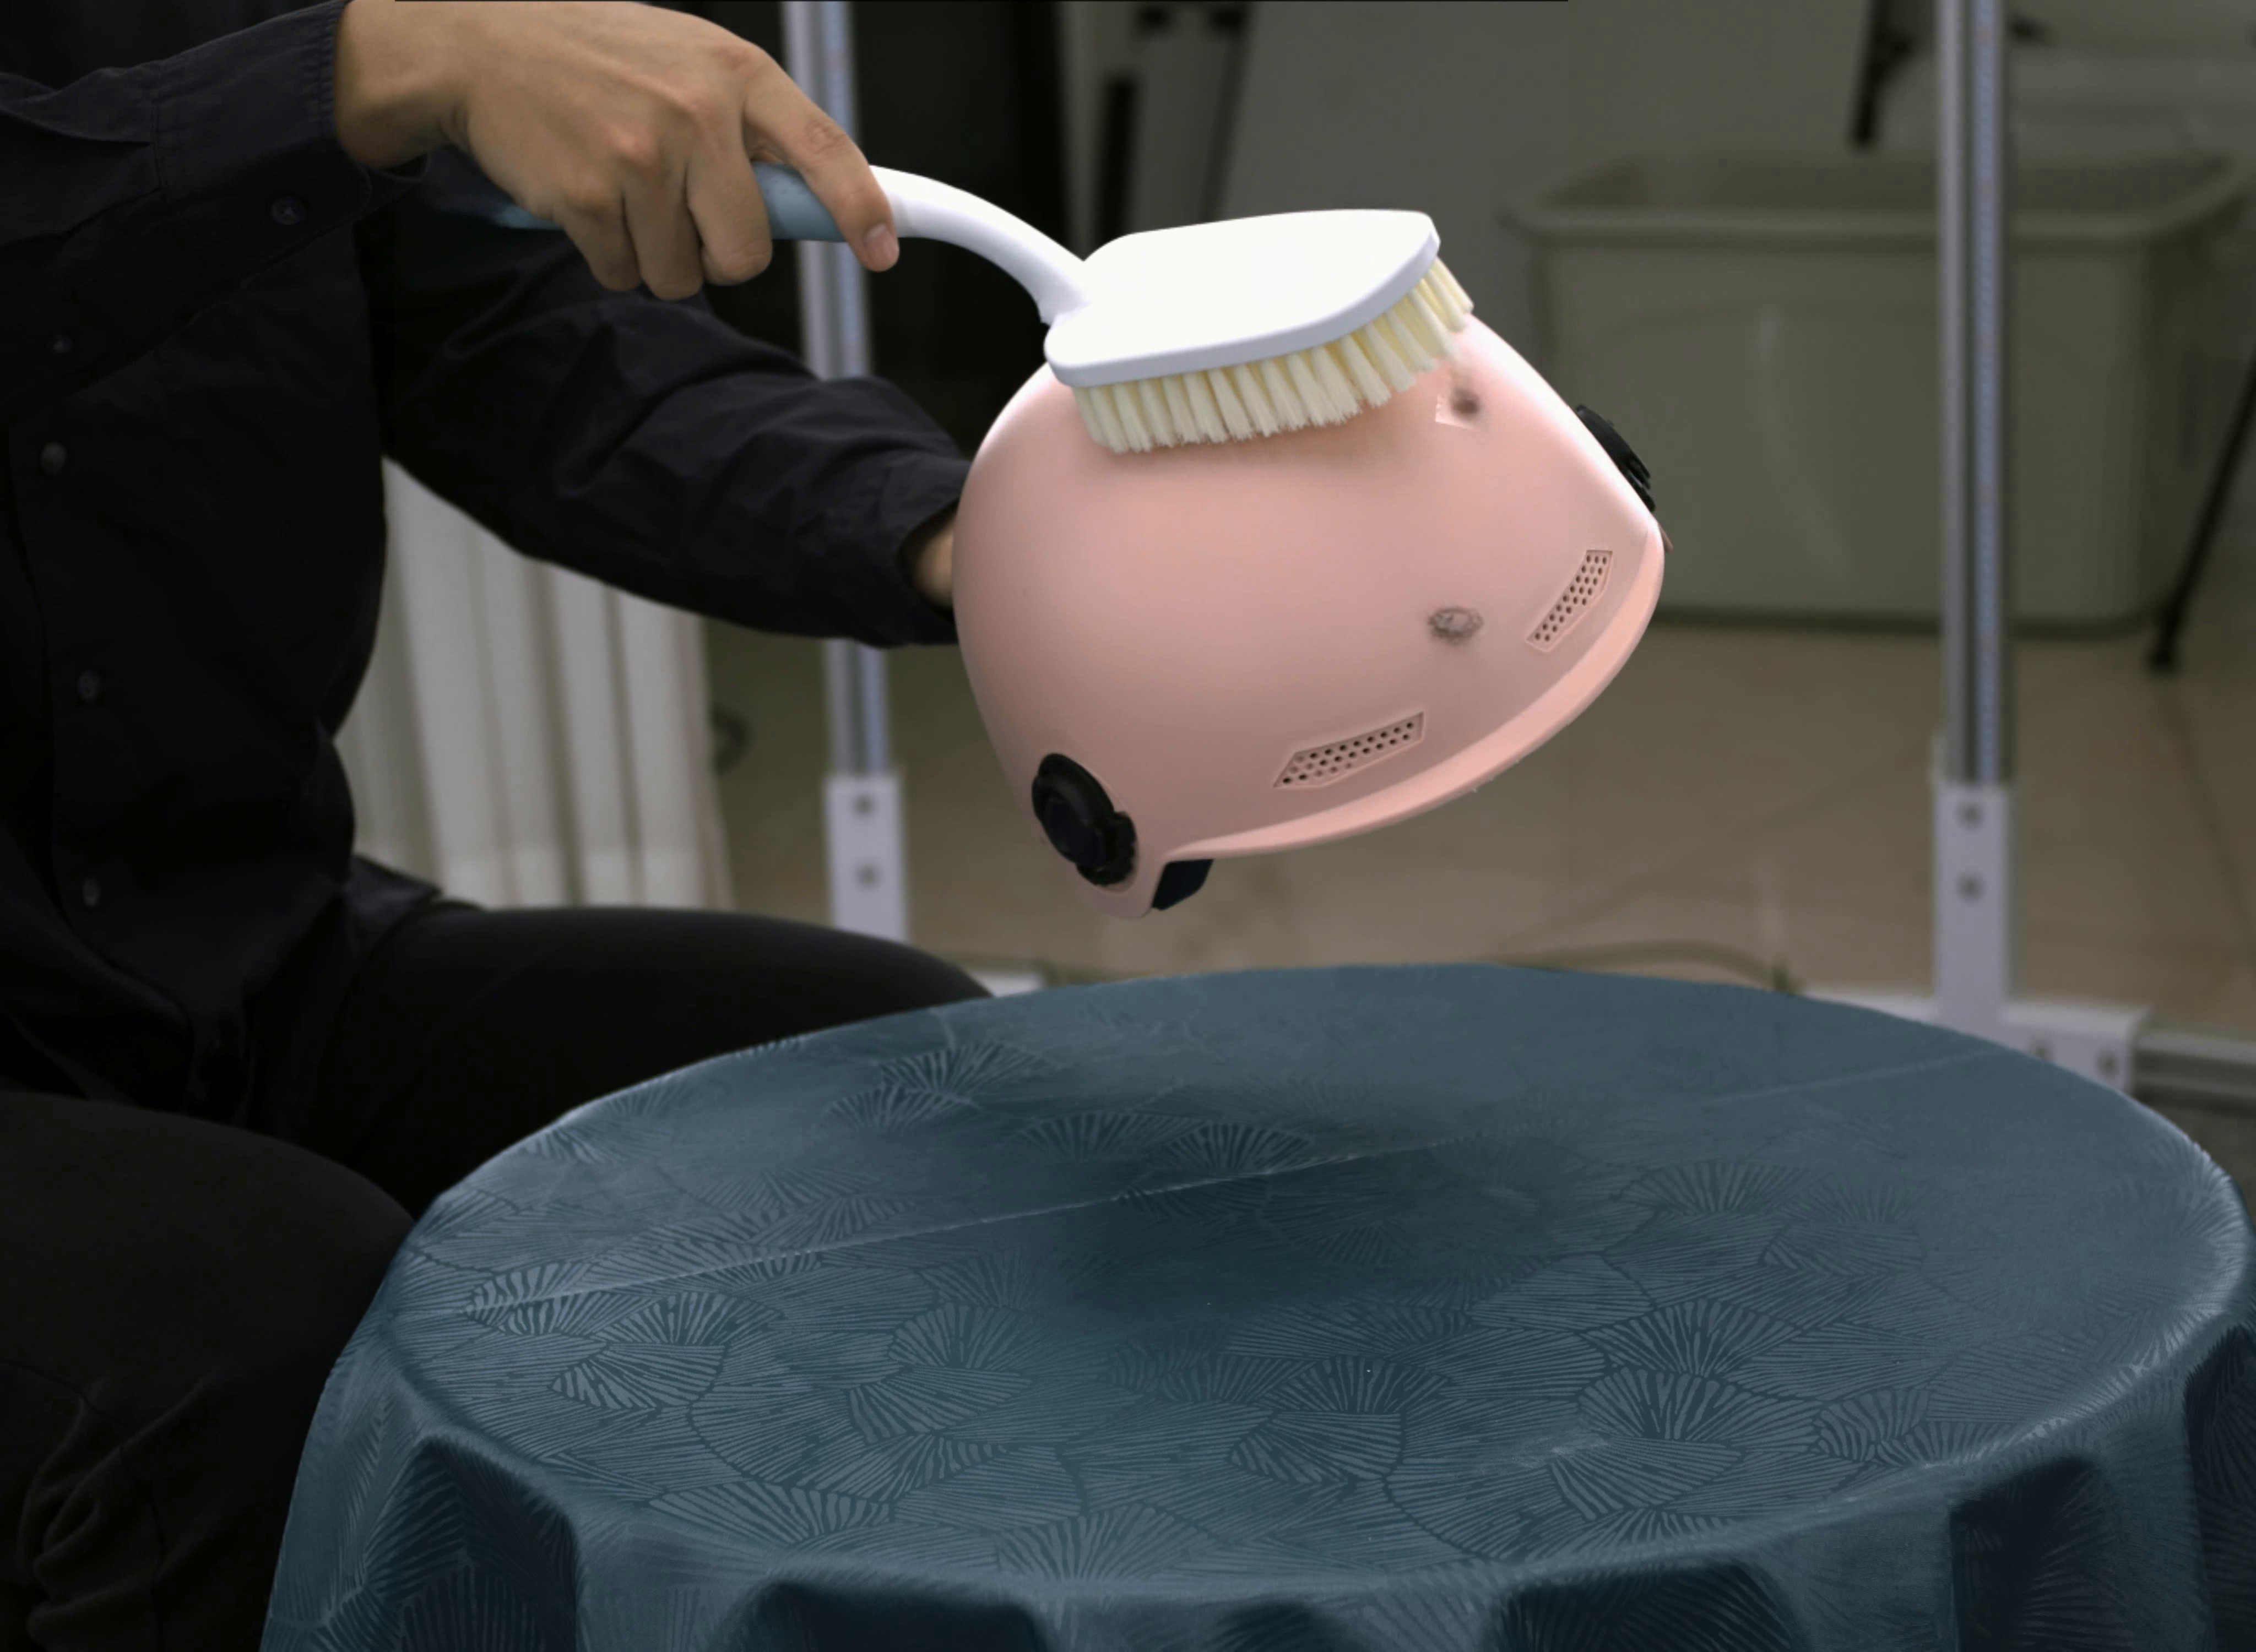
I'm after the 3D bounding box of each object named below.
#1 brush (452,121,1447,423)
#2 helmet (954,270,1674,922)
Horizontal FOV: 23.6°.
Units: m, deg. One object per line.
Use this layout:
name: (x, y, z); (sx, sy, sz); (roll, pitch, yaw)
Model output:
brush: (-0.056, -0.170, 1.683); (0.325, 0.085, 0.082); (4, 6, 20)
helmet: (0.044, -0.096, 1.731); (0.231, 0.159, 0.268); (-34, 20, -13)
